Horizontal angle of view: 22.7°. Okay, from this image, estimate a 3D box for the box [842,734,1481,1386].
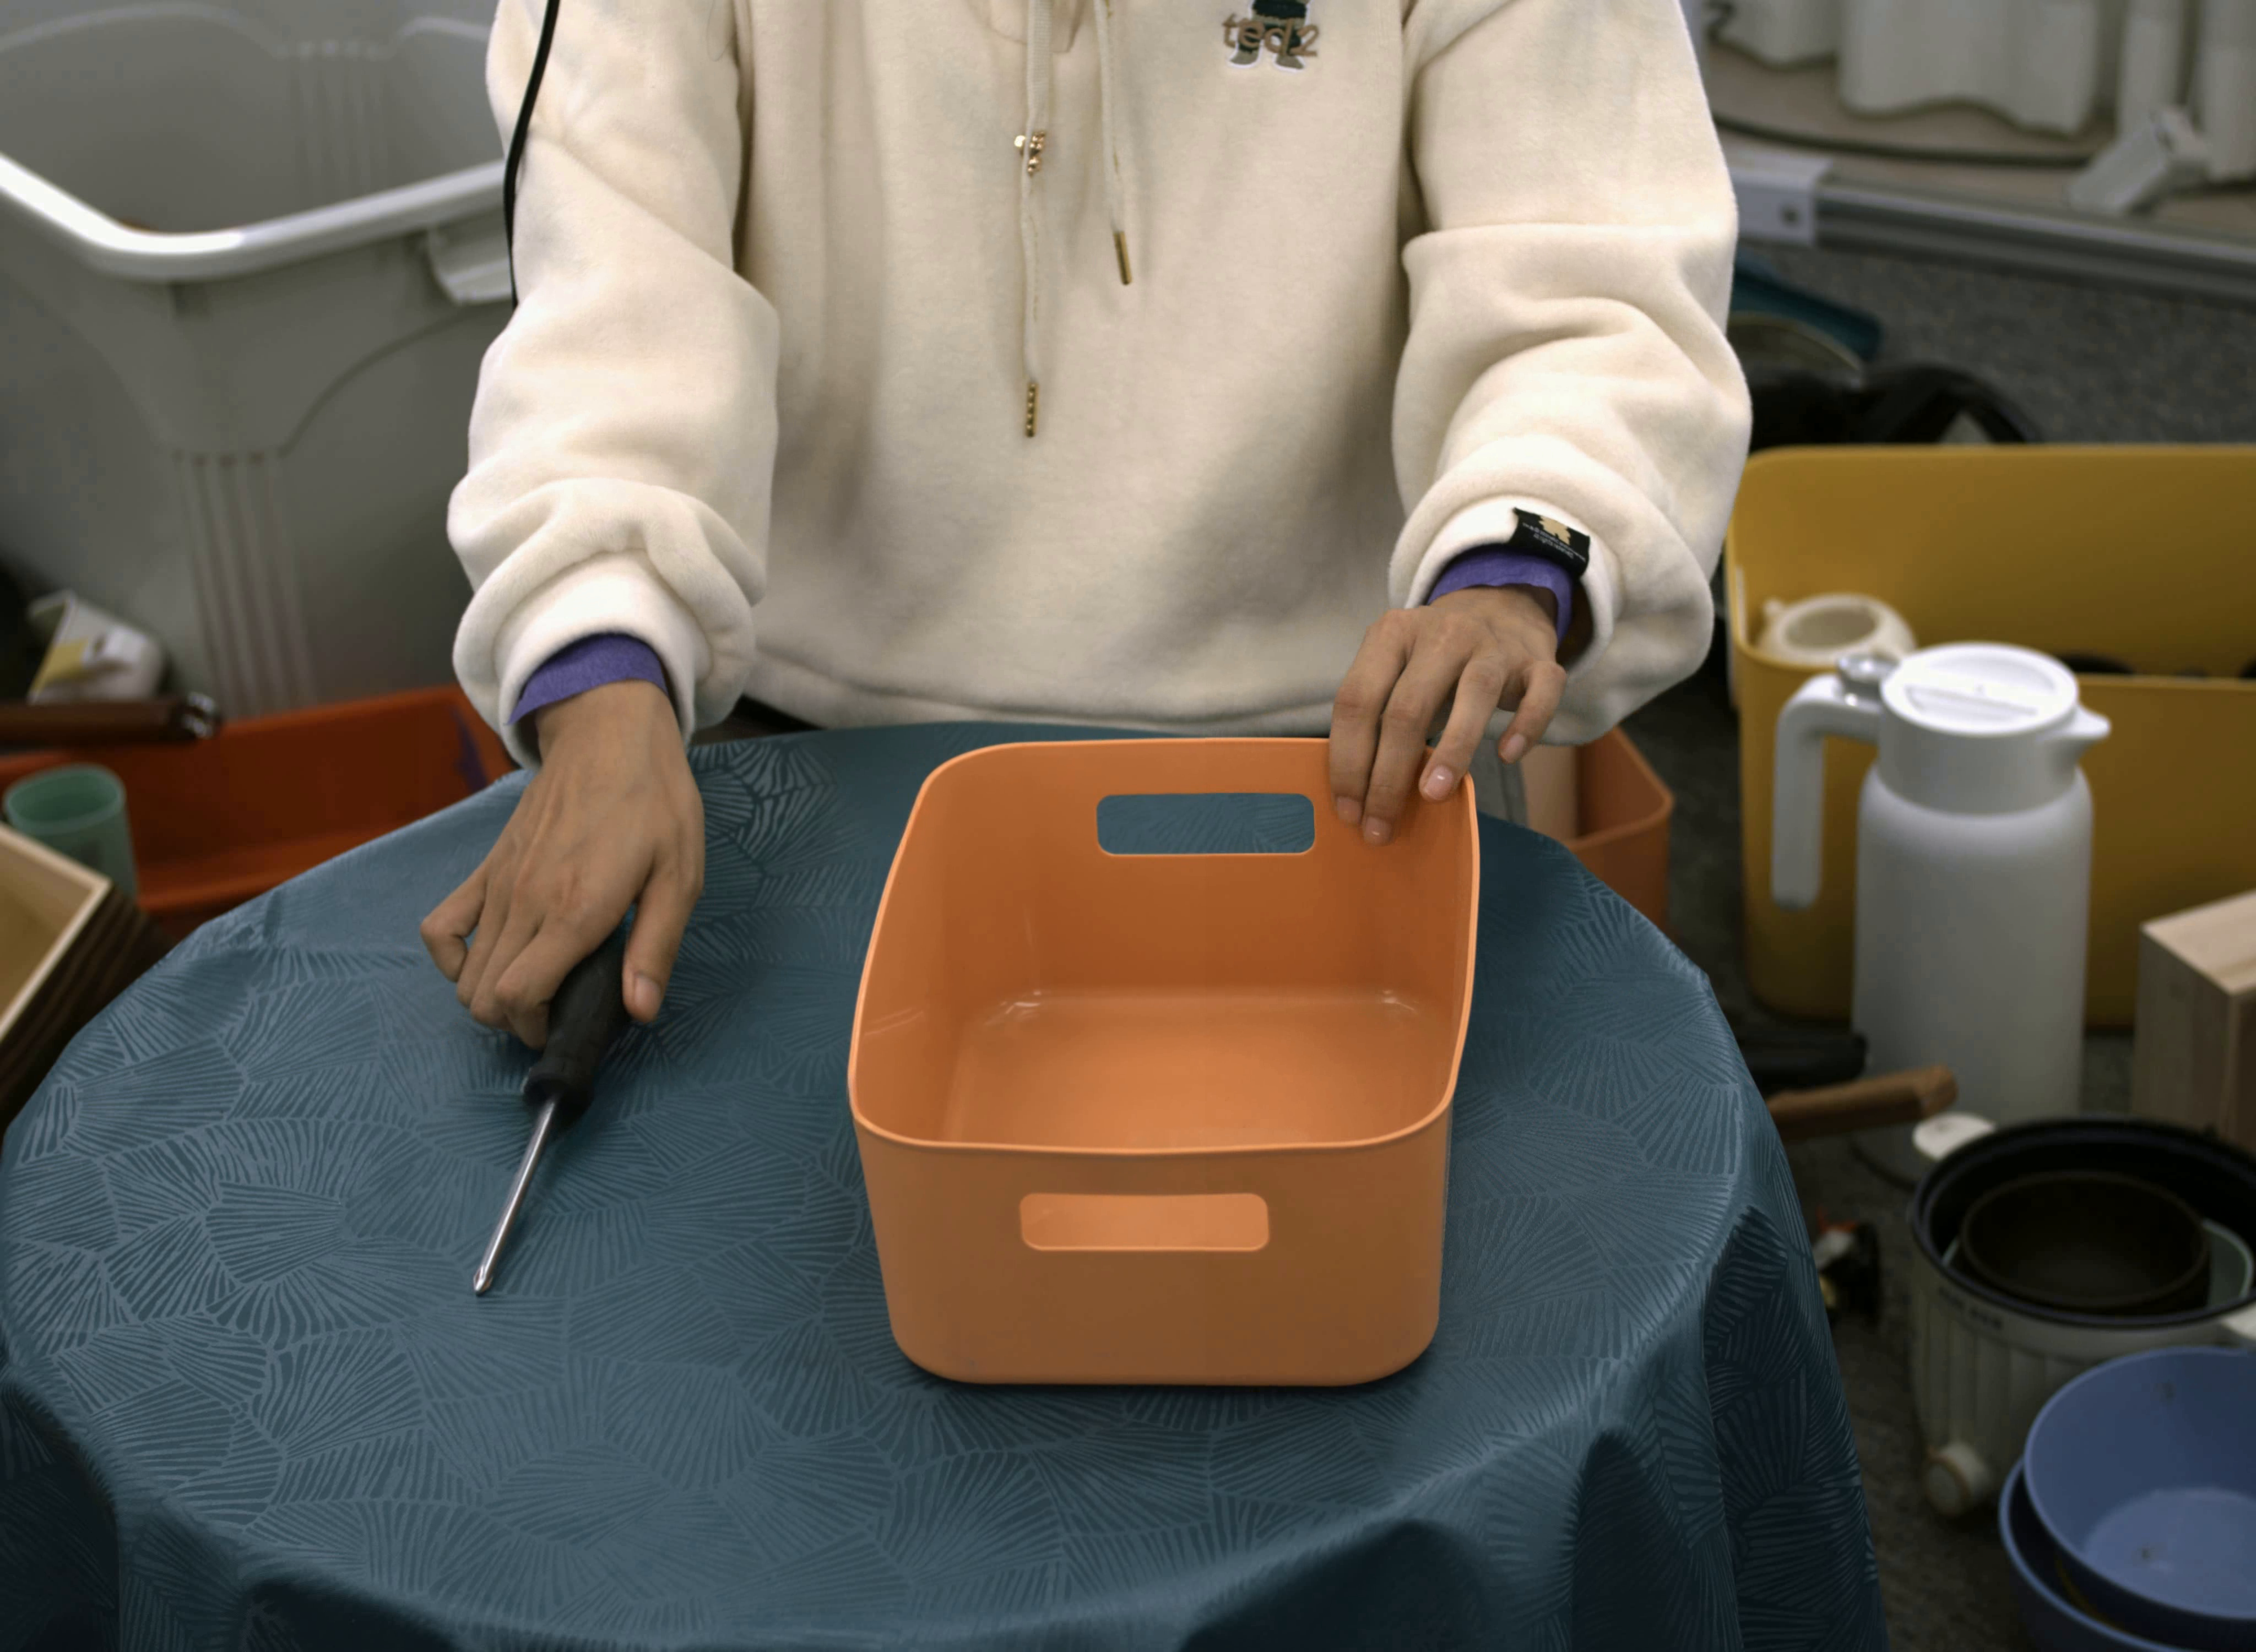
[{"bbox_3d":[0.018,0.076,1.835,0.198,0.101,0.277,-1,28,5],"label":"box"}]

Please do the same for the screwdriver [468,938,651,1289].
[{"bbox_3d":[-0.197,0.100,1.901,0.031,0.031,0.200,3,34,12],"label":"screwdriver"}]
